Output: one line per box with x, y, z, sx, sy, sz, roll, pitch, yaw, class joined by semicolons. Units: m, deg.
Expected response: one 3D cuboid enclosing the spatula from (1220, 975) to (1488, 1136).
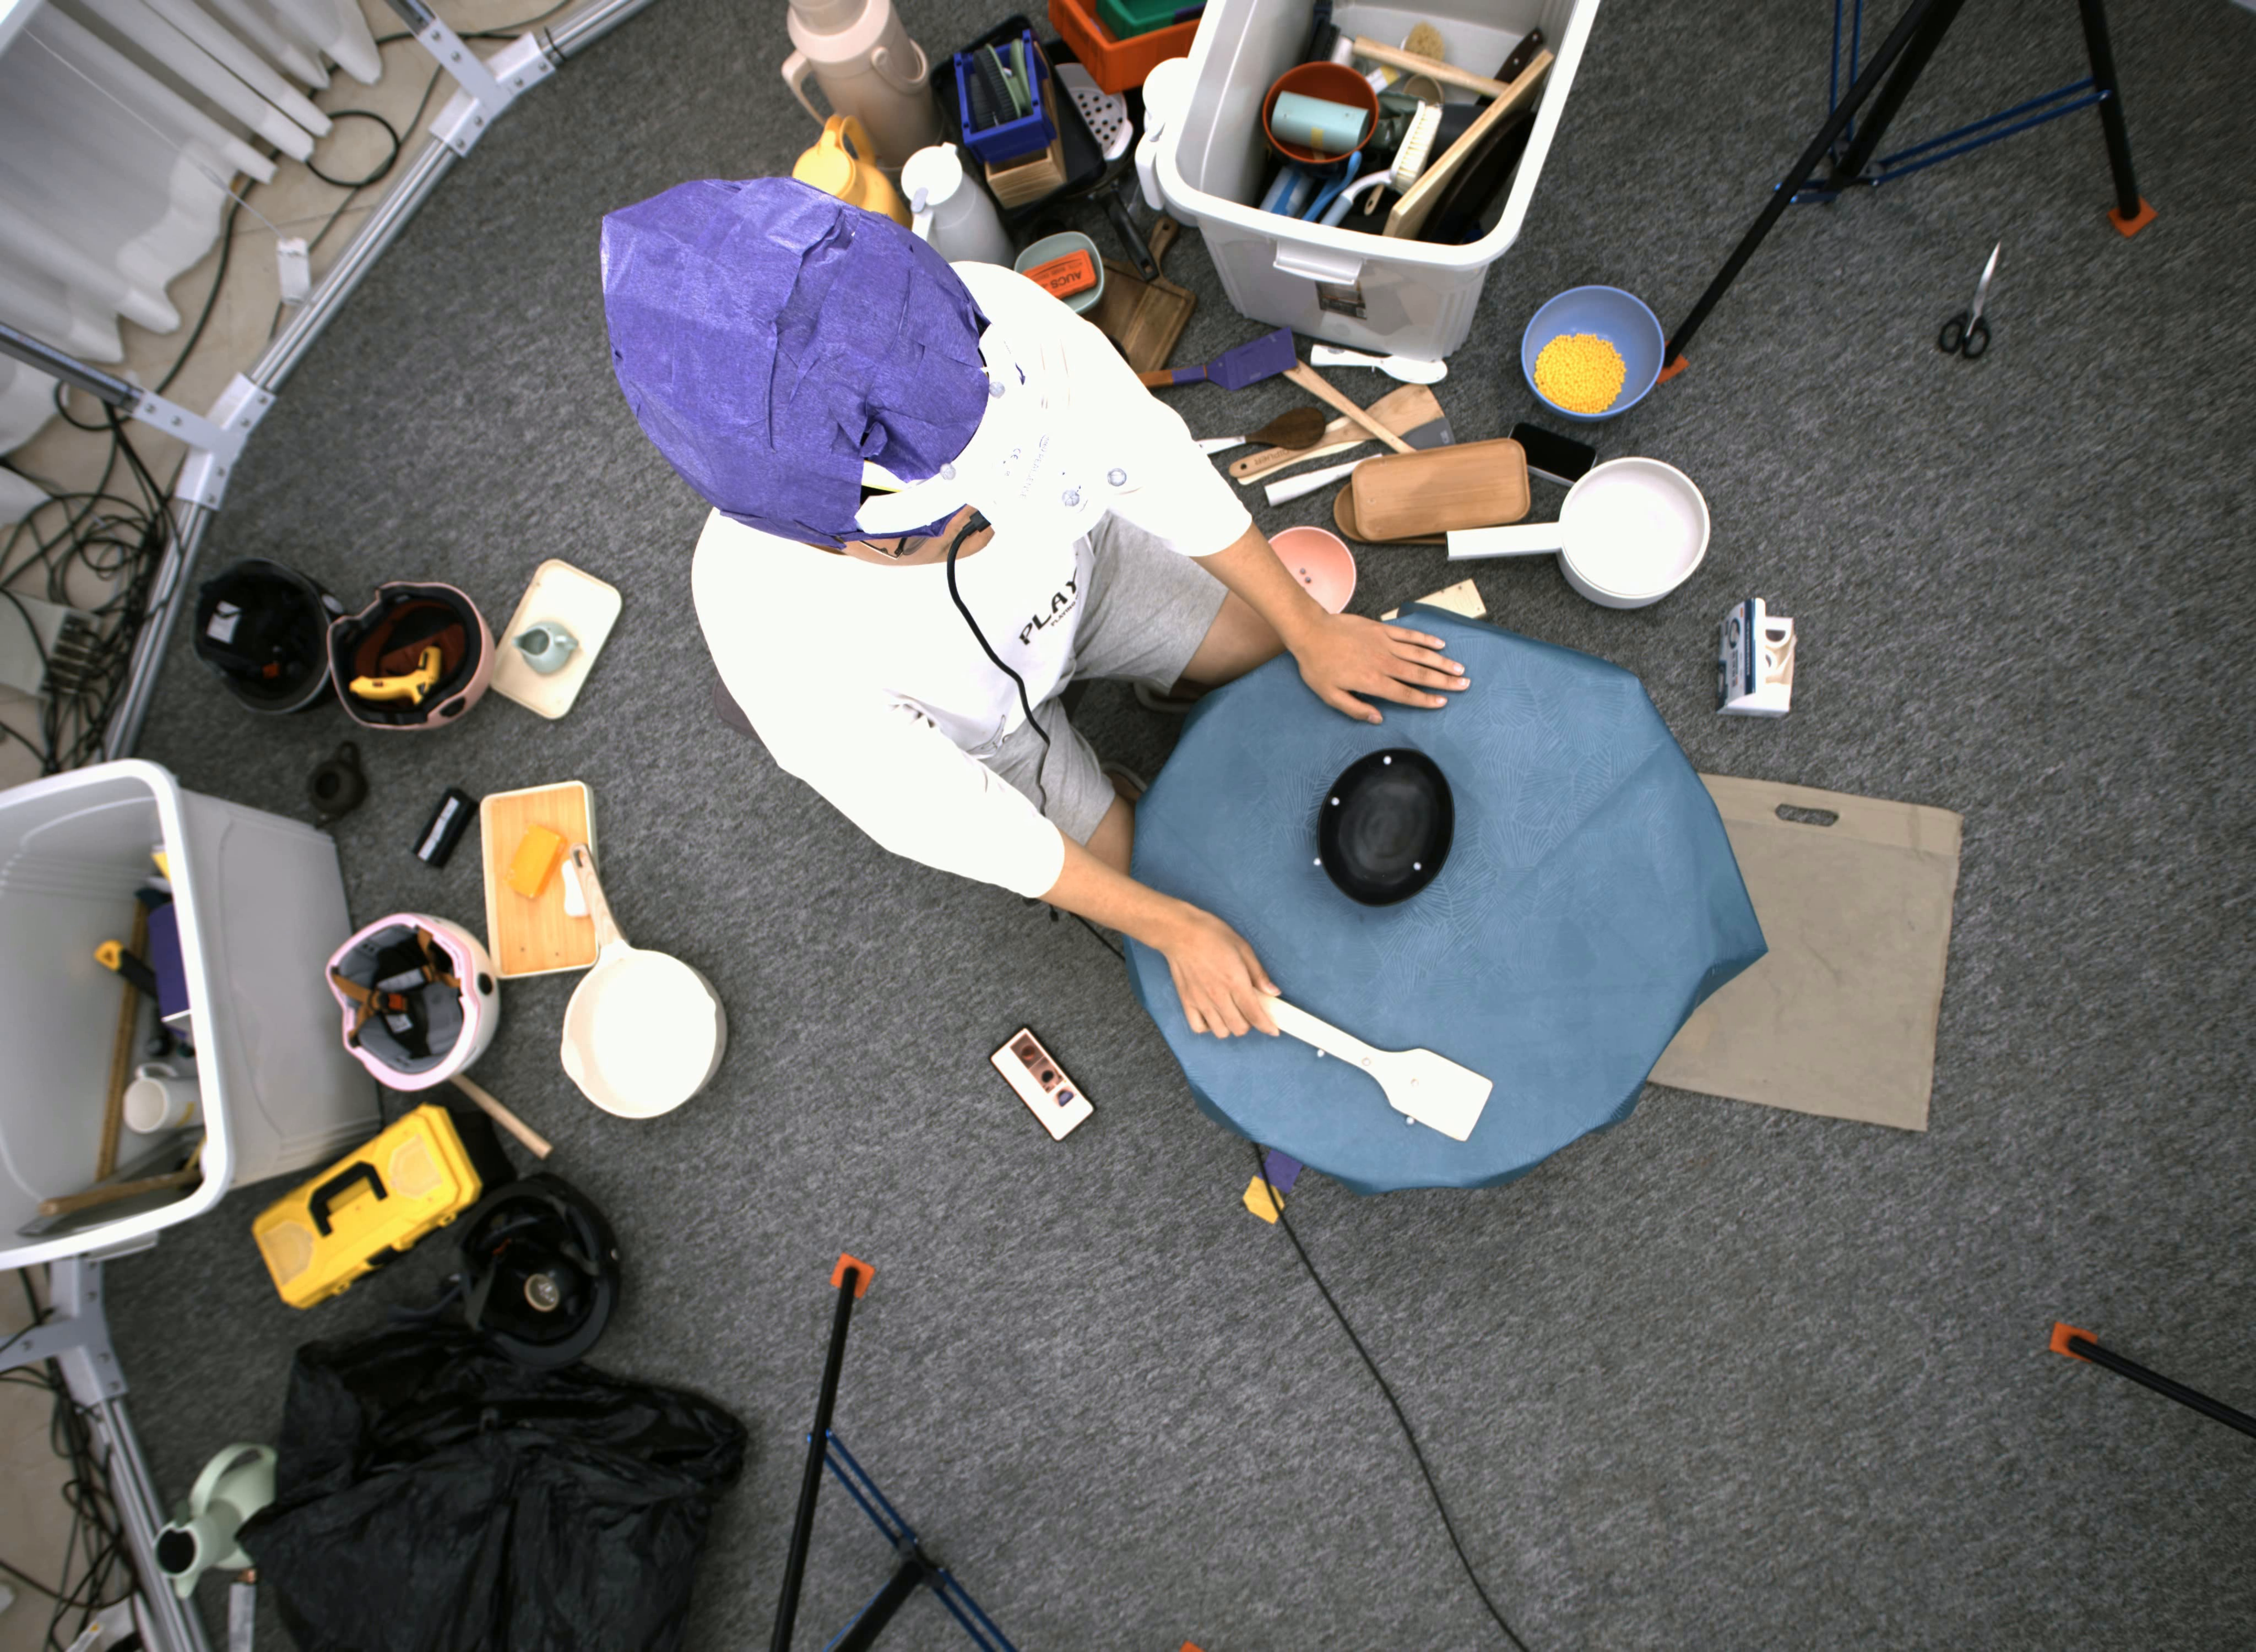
0.229;0.229;1.442;0.293;0.010;0.072;25;92;5;spatula

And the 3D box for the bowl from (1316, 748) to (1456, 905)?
0.268;0.000;1.432;0.137;0.067;0.170;18;88;12;bowl
